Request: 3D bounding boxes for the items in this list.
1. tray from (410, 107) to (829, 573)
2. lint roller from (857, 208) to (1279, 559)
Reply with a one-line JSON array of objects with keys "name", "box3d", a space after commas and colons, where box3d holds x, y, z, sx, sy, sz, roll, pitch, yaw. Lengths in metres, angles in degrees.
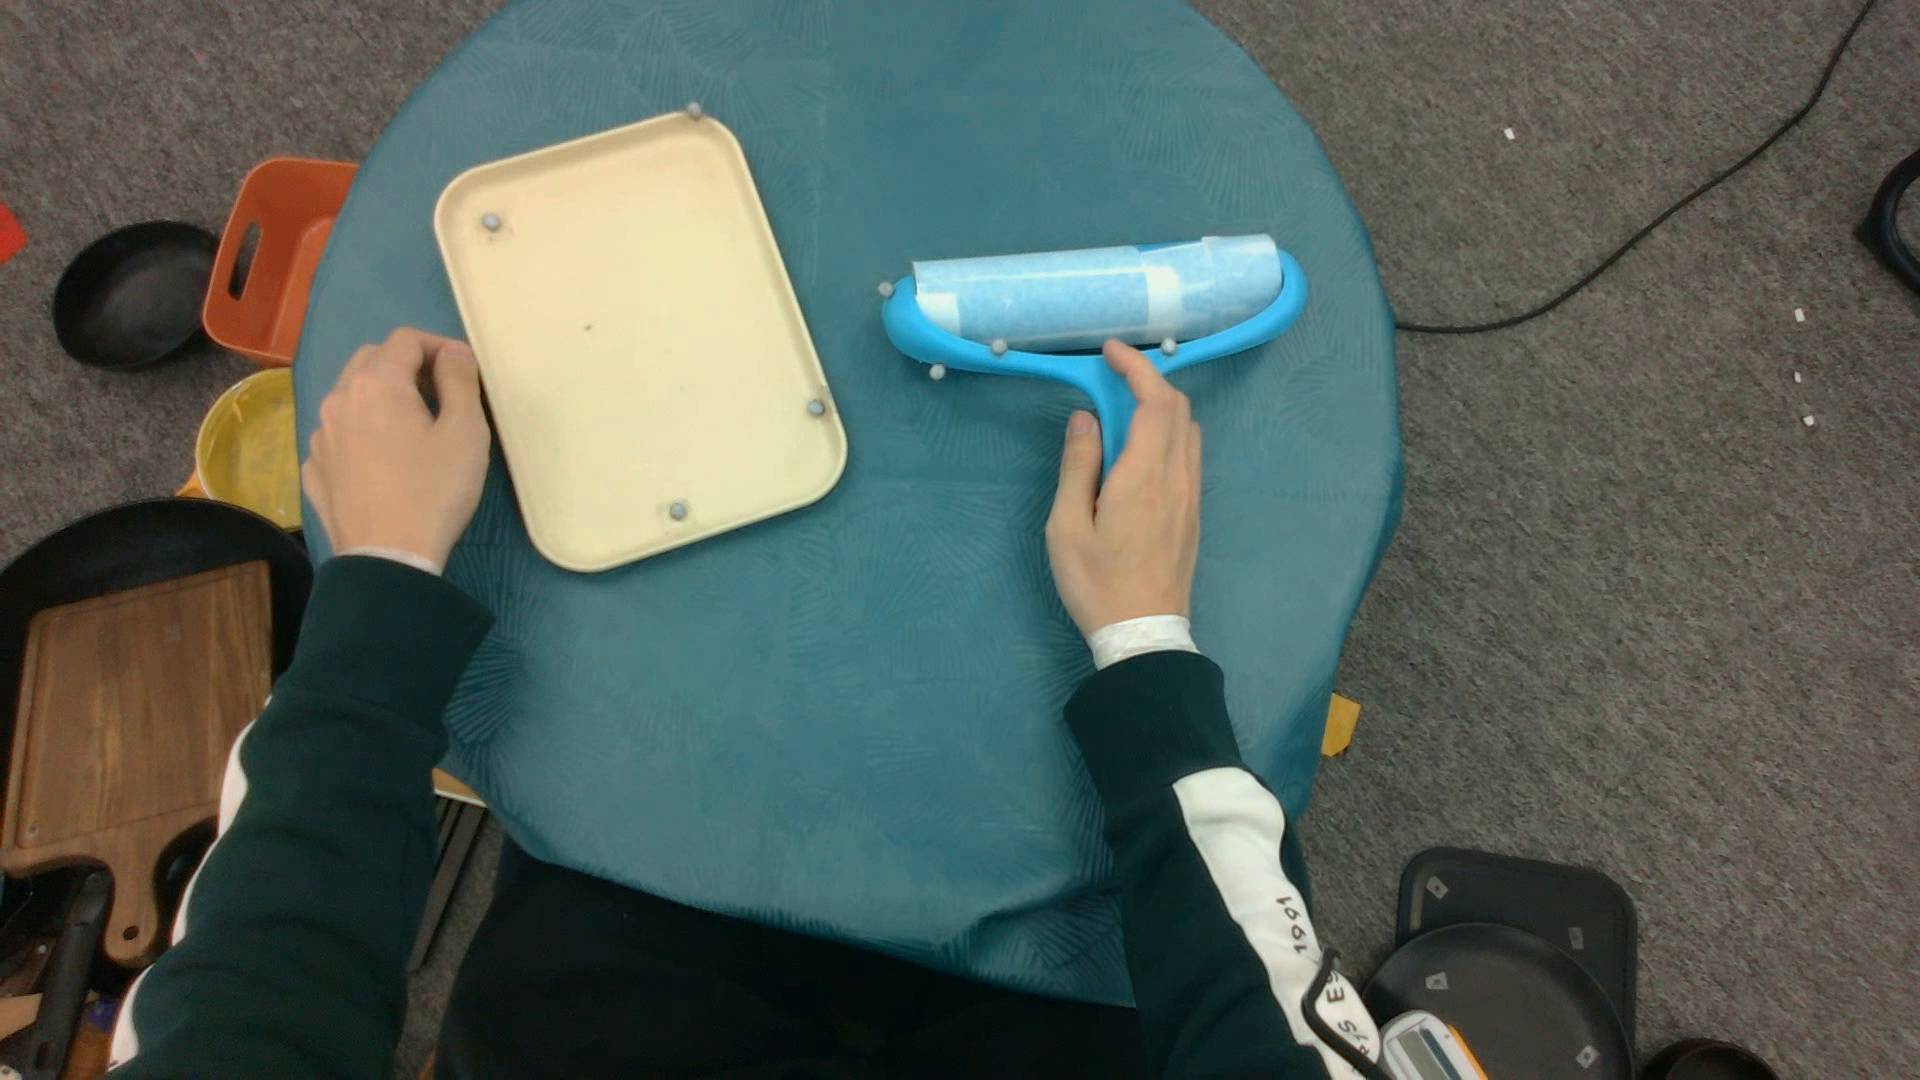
[{"name": "tray", "box3d": [-0.182, -0.111, 0.738, 0.171, 0.017, 0.240, -20, 78, -8]}, {"name": "lint roller", "box3d": [0.070, -0.084, 0.726, 0.229, 0.068, 0.180, -10, 75, -7]}]
